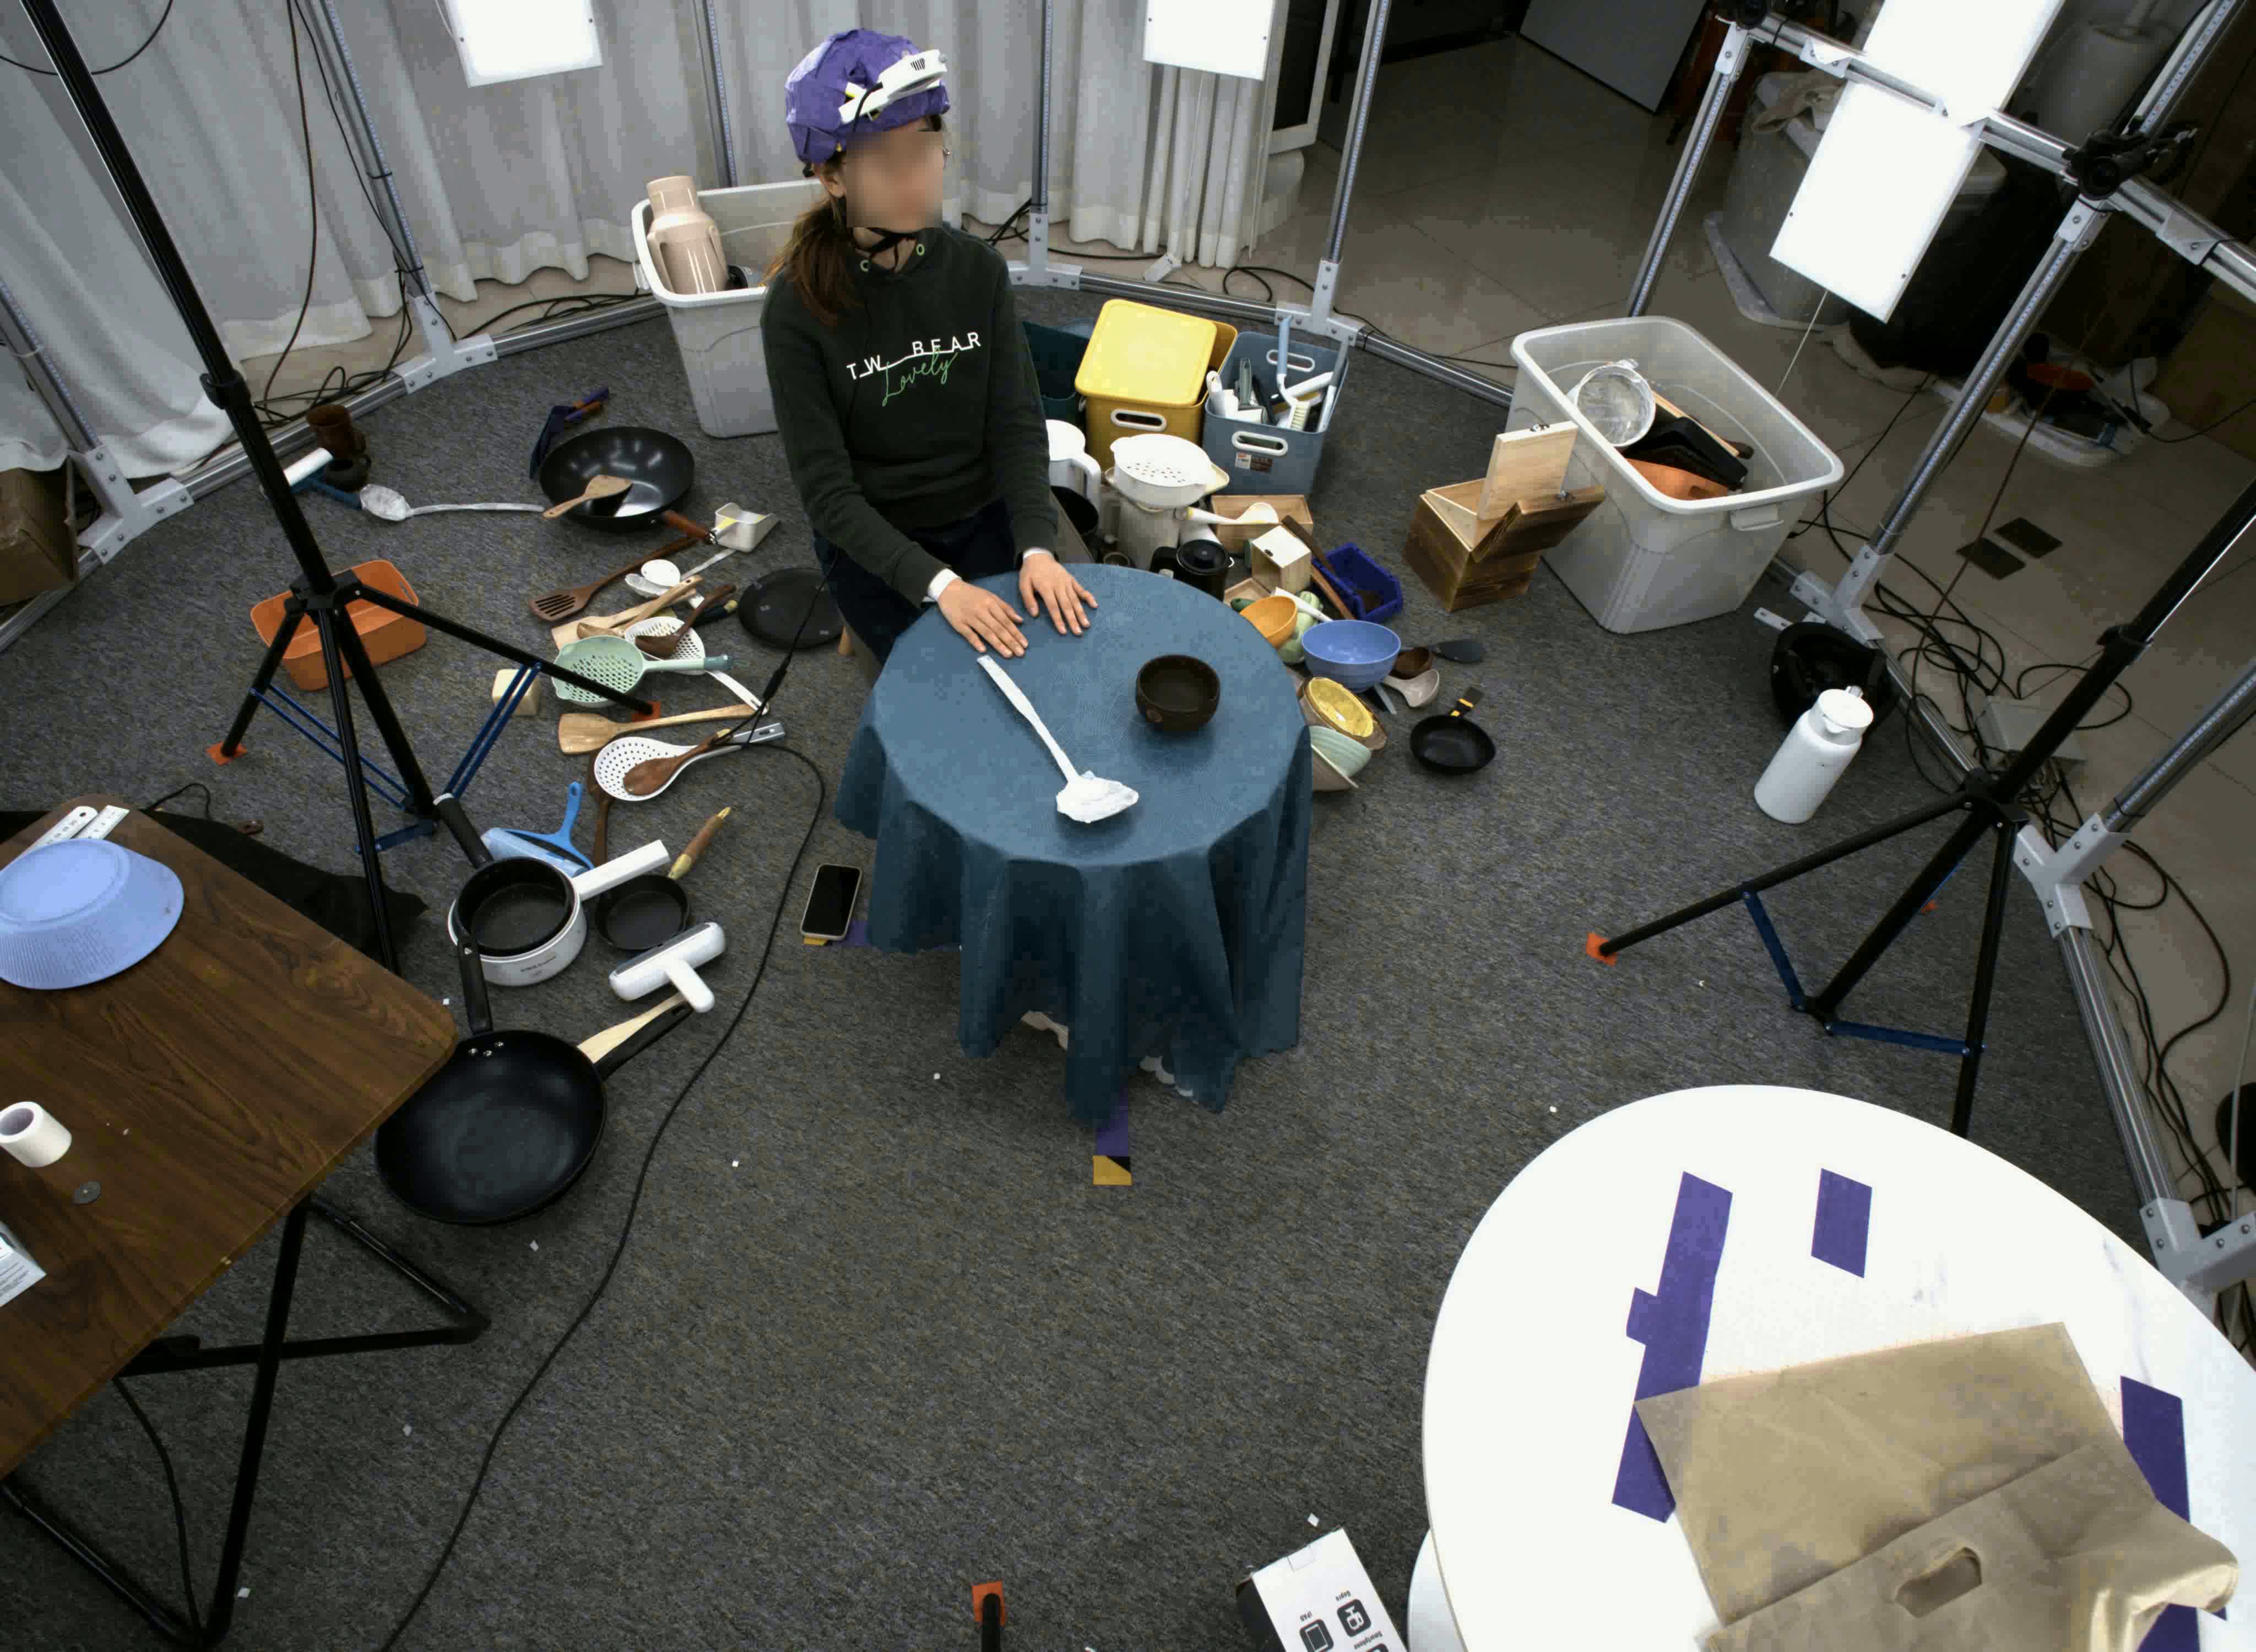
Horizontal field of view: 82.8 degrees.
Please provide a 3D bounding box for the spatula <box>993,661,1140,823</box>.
[{"bbox_3d":[-0.107,-0.127,1.762,0.099,0.043,0.373,-22,54,-19],"label":"spatula"}]

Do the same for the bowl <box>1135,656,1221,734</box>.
[{"bbox_3d":[0.068,-0.176,1.795,0.118,0.068,0.121,3,47,-3],"label":"bowl"}]
